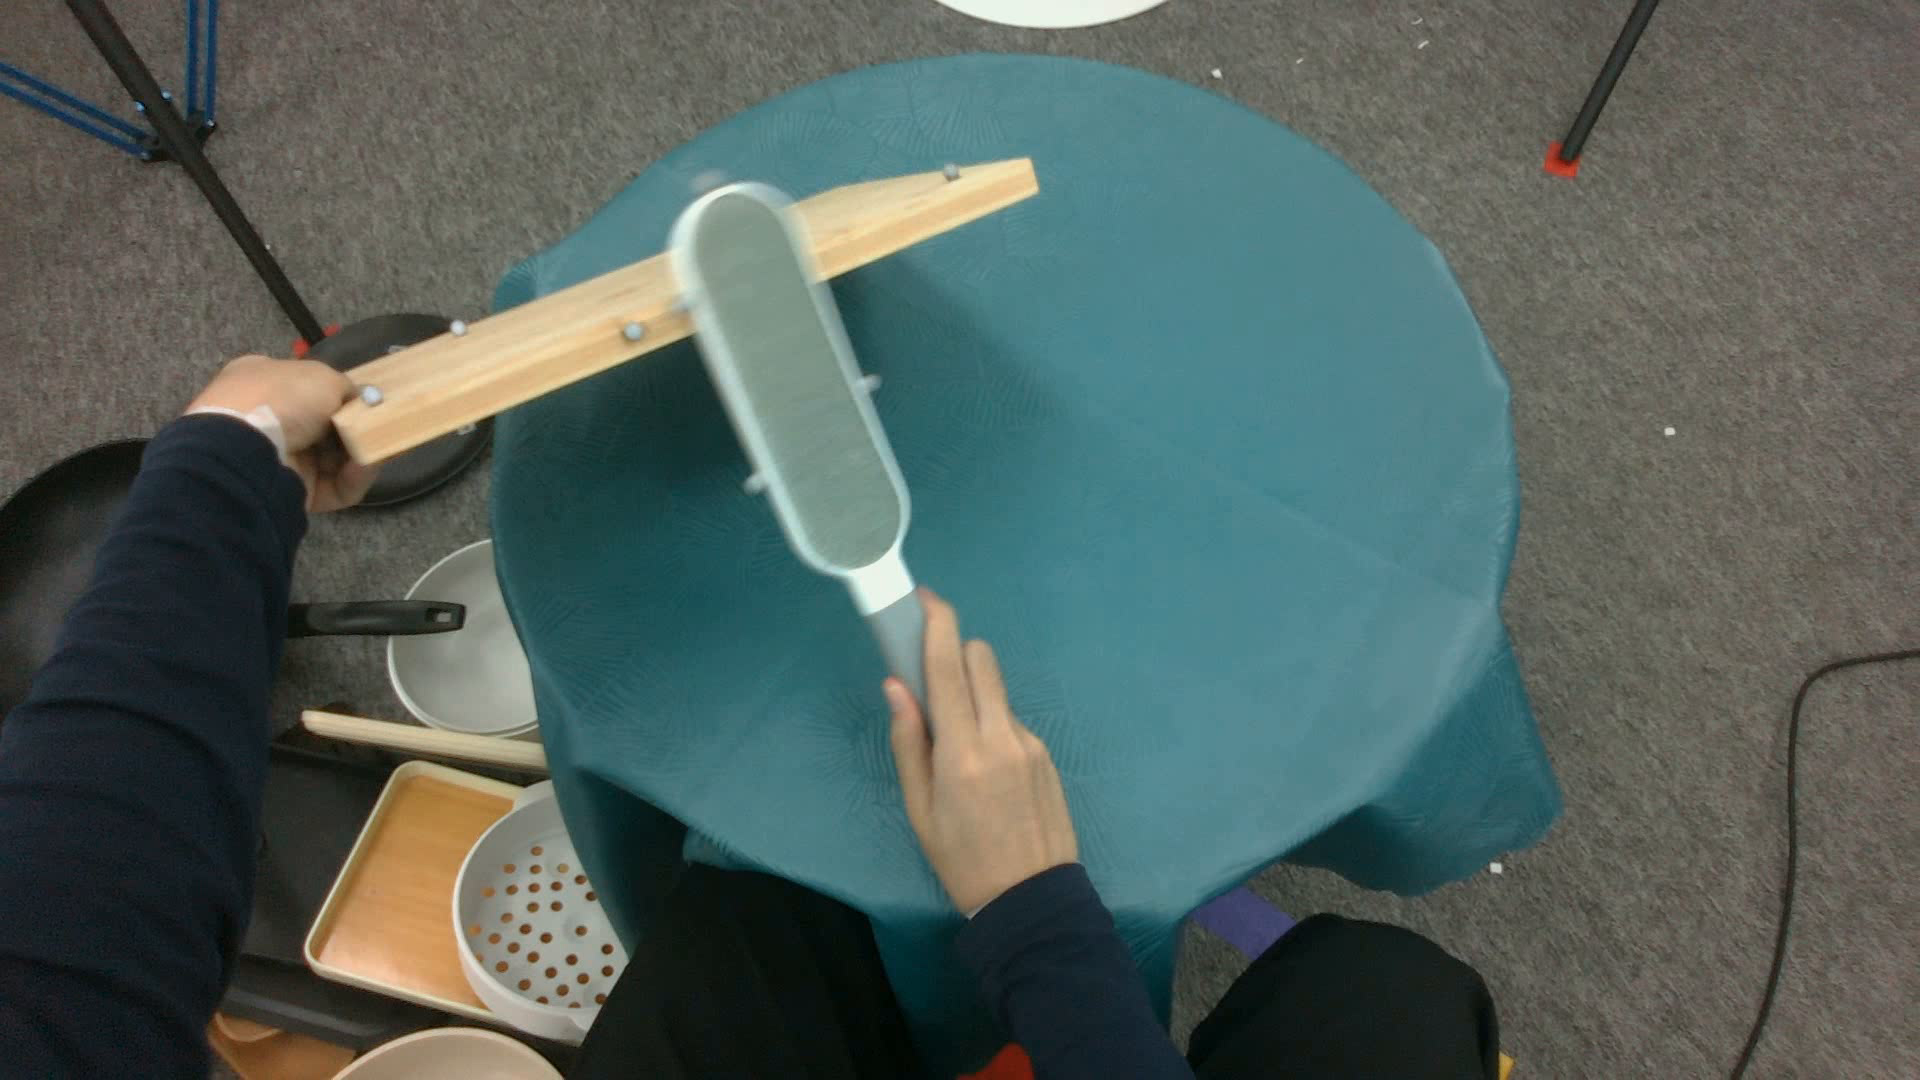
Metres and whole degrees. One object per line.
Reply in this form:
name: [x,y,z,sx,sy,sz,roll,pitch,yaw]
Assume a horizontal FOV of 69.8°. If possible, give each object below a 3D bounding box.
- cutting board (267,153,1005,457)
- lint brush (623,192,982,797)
cutting board: [-0.175,-0.132,0.718,0.350,0.023,0.250,-27,22,-24]
lint brush: [-0.065,-0.013,0.626,0.060,0.021,0.308,-33,105,-26]
